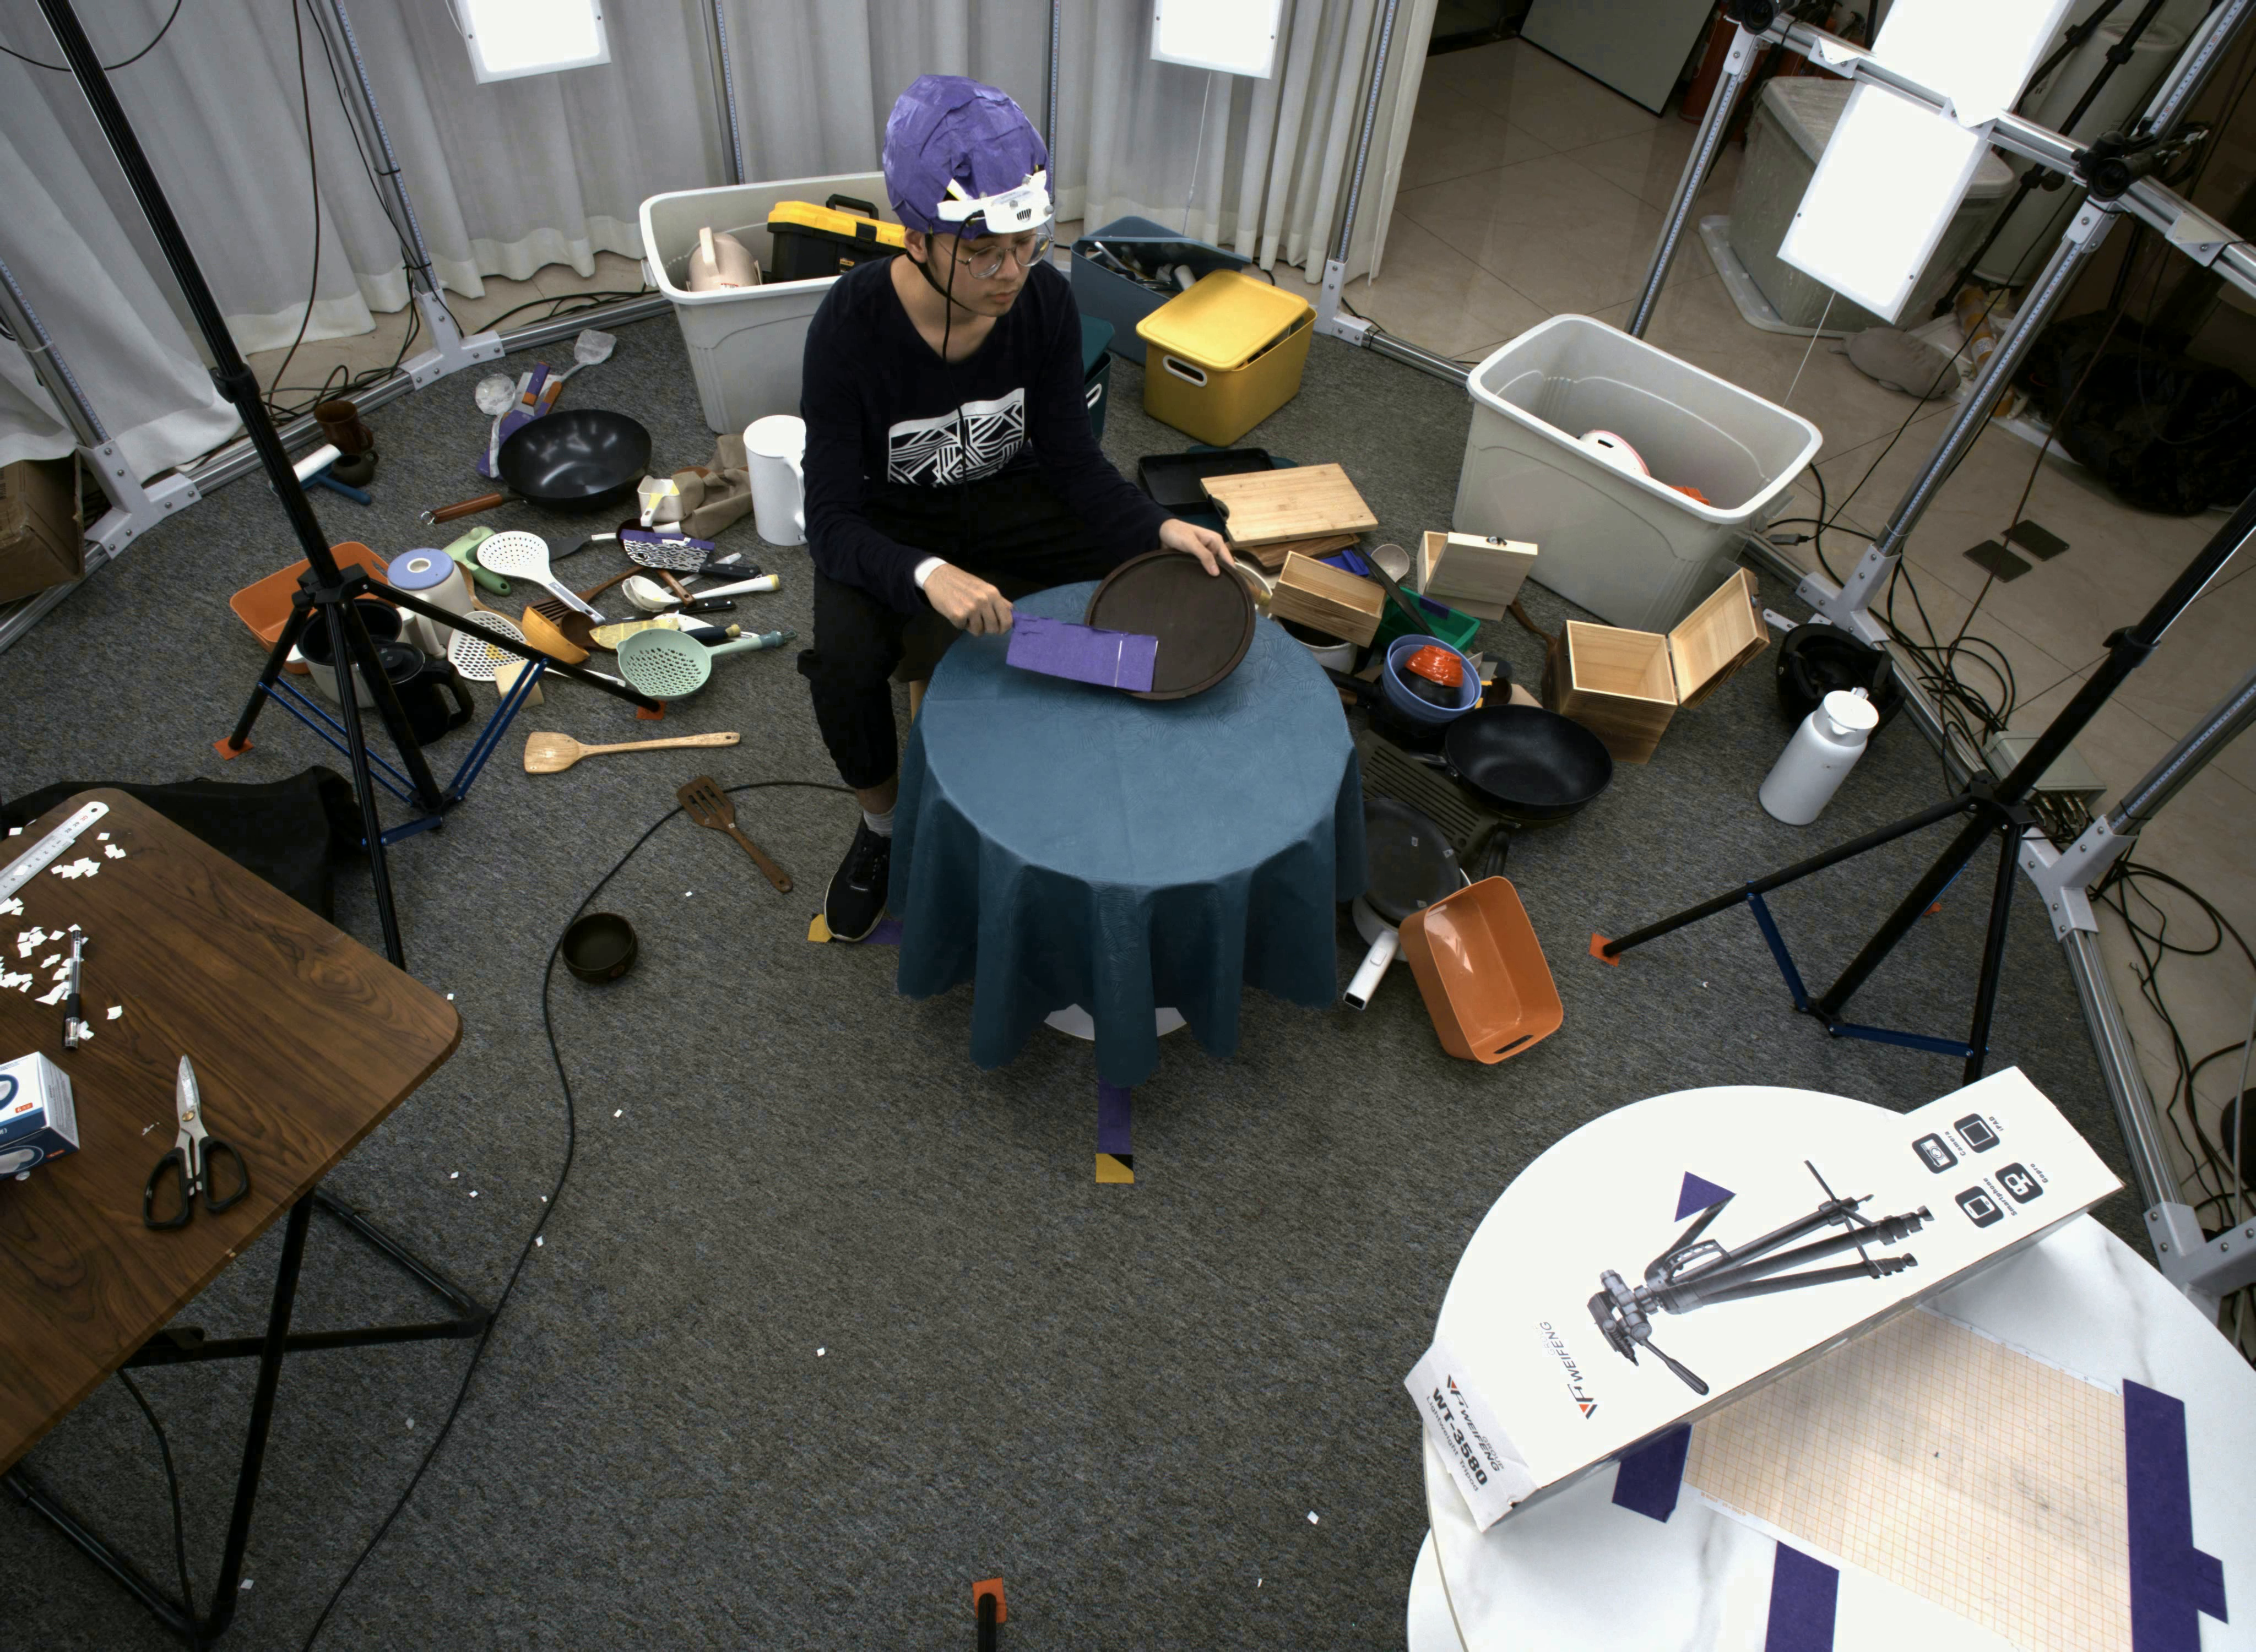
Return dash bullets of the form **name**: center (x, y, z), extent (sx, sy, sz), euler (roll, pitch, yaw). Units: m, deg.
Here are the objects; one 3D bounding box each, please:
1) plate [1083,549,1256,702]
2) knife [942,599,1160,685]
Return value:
- **plate**: center (0.059, -0.290, 1.855), extent (0.255, 0.028, 0.259), euler (-4, 66, 10)
- **knife**: center (-0.112, -0.260, 1.819), extent (0.315, 0.031, 0.106), euler (9, 62, 0)
